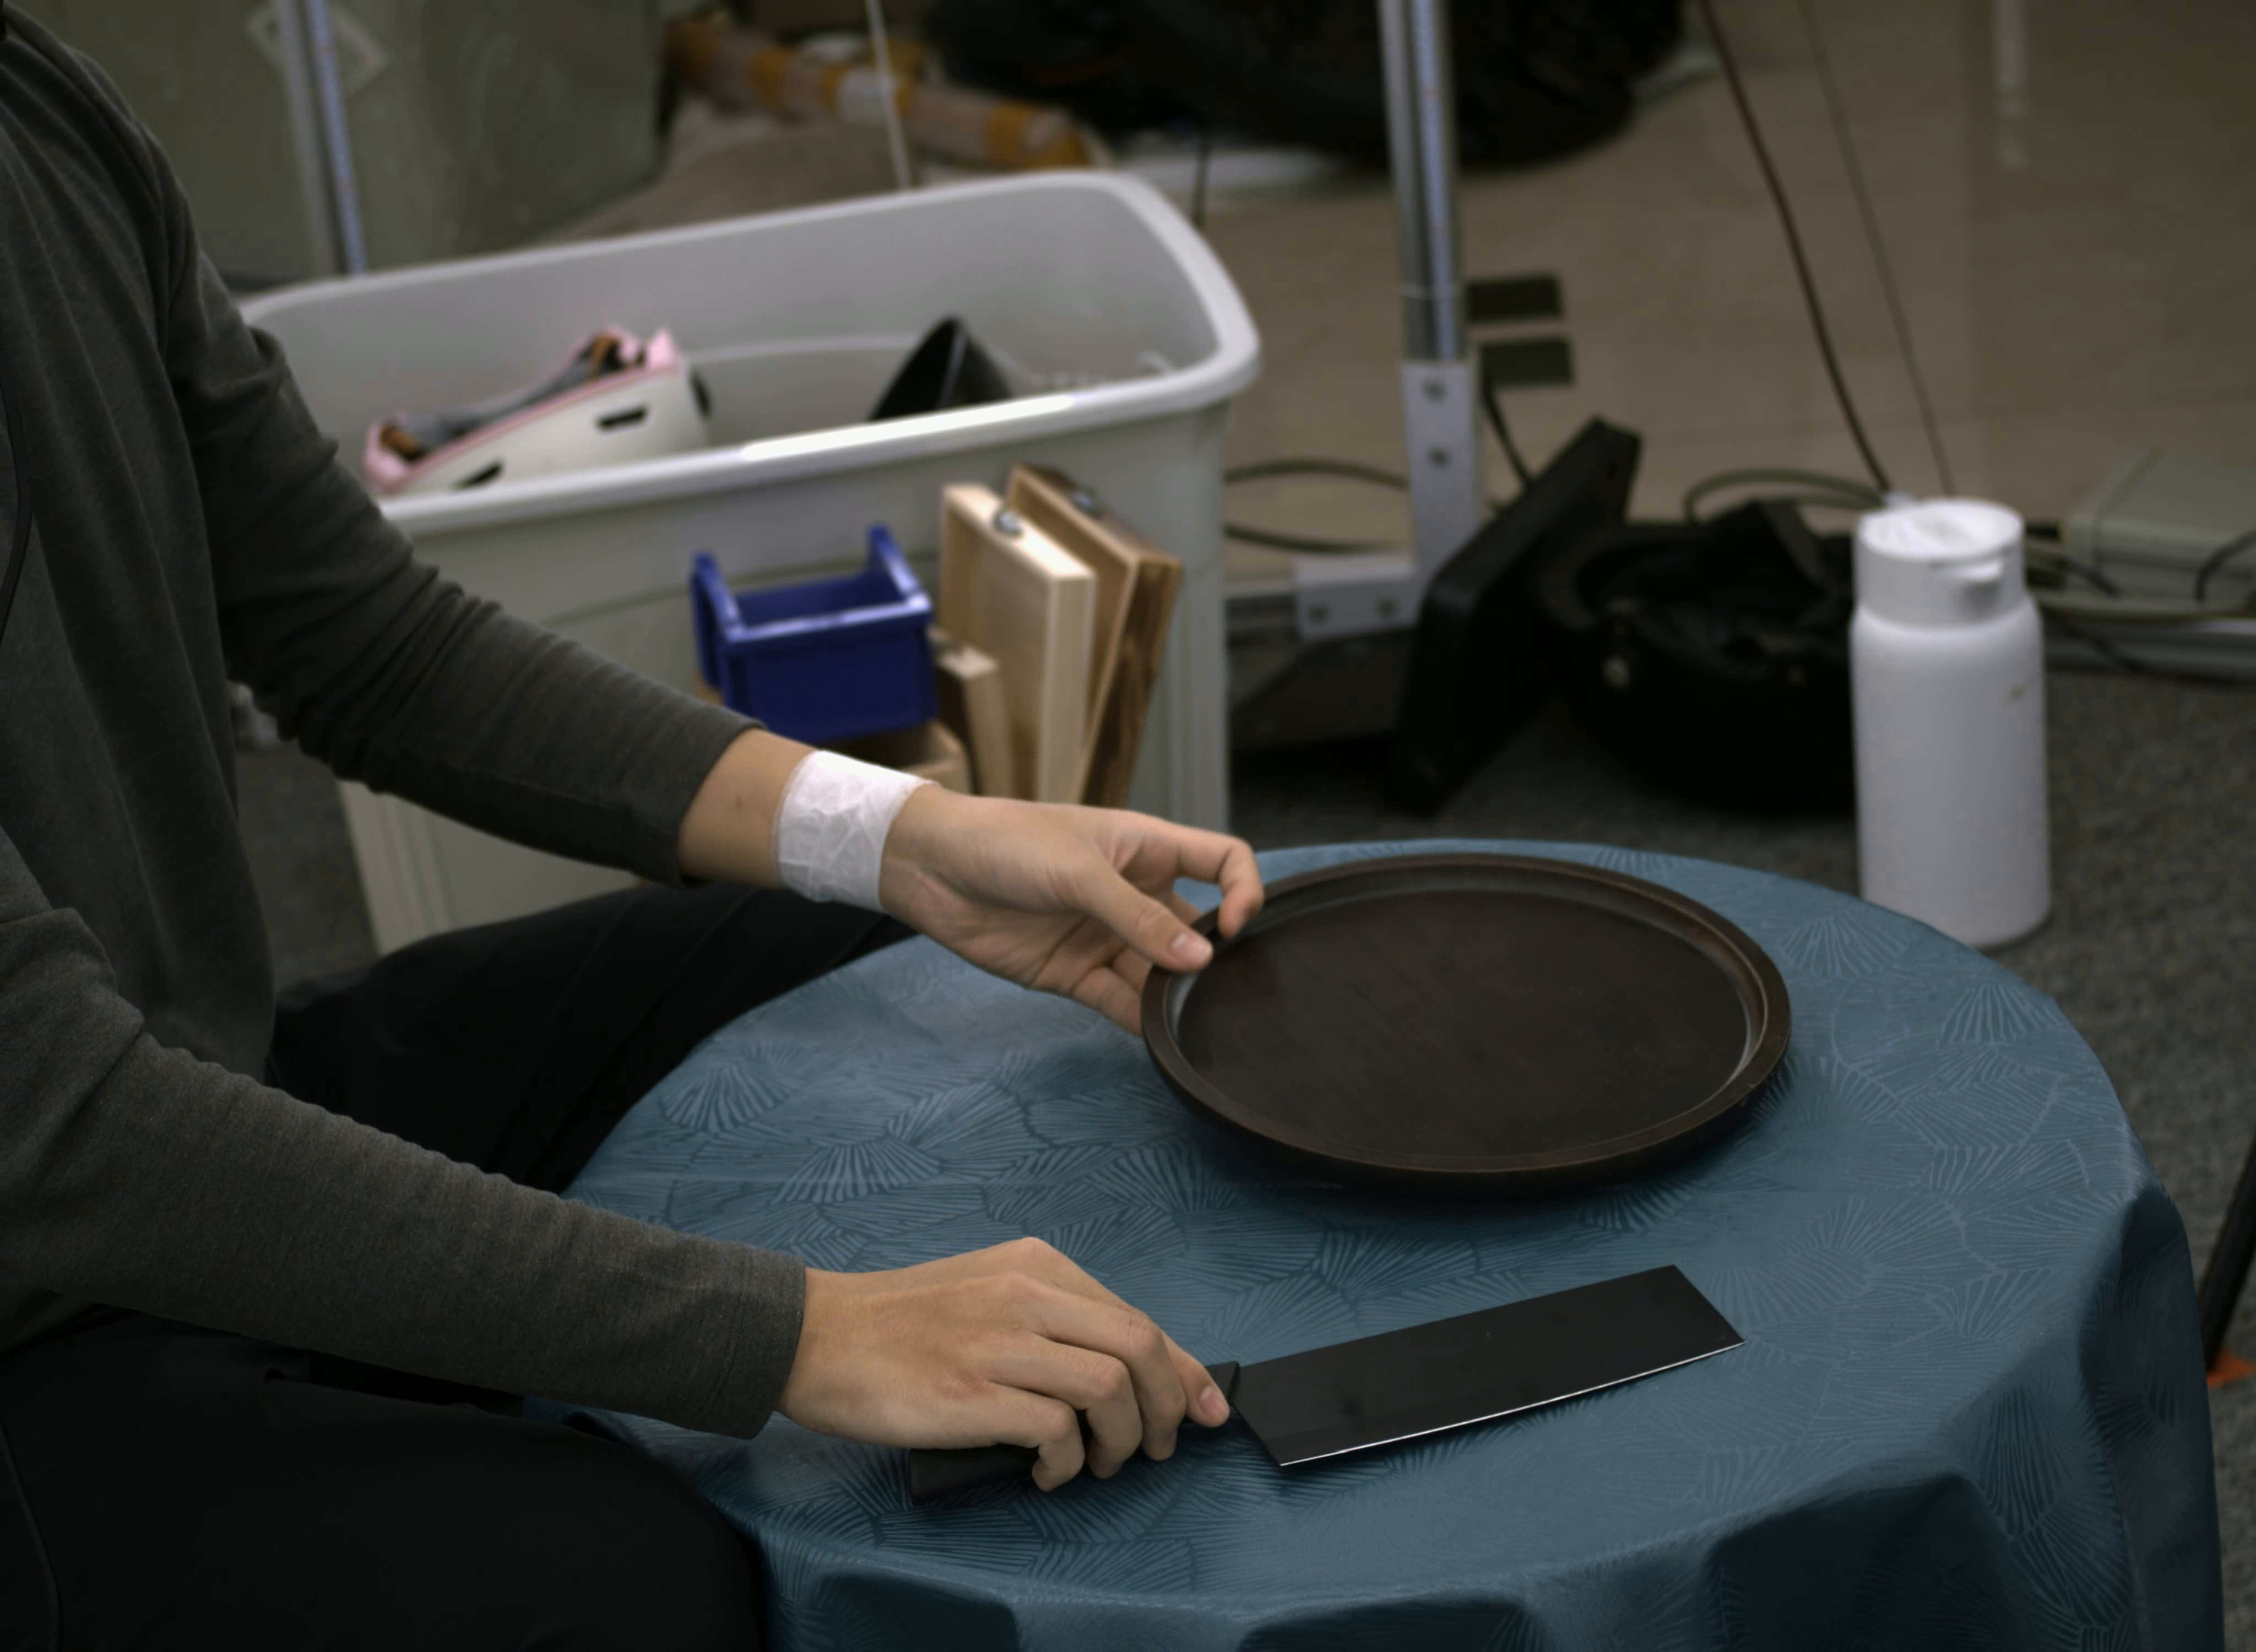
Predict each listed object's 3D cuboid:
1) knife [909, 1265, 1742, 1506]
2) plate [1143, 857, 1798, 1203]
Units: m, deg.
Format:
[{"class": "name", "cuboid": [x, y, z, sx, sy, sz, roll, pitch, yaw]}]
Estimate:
[{"class": "knife", "cuboid": [0.067, 0.198, 1.986, 0.301, 0.021, 0.080, -10, 26, -13]}, {"class": "plate", "cuboid": [0.131, 0.077, 2.197, 0.254, 0.029, 0.250, 0, 29, 0]}]
